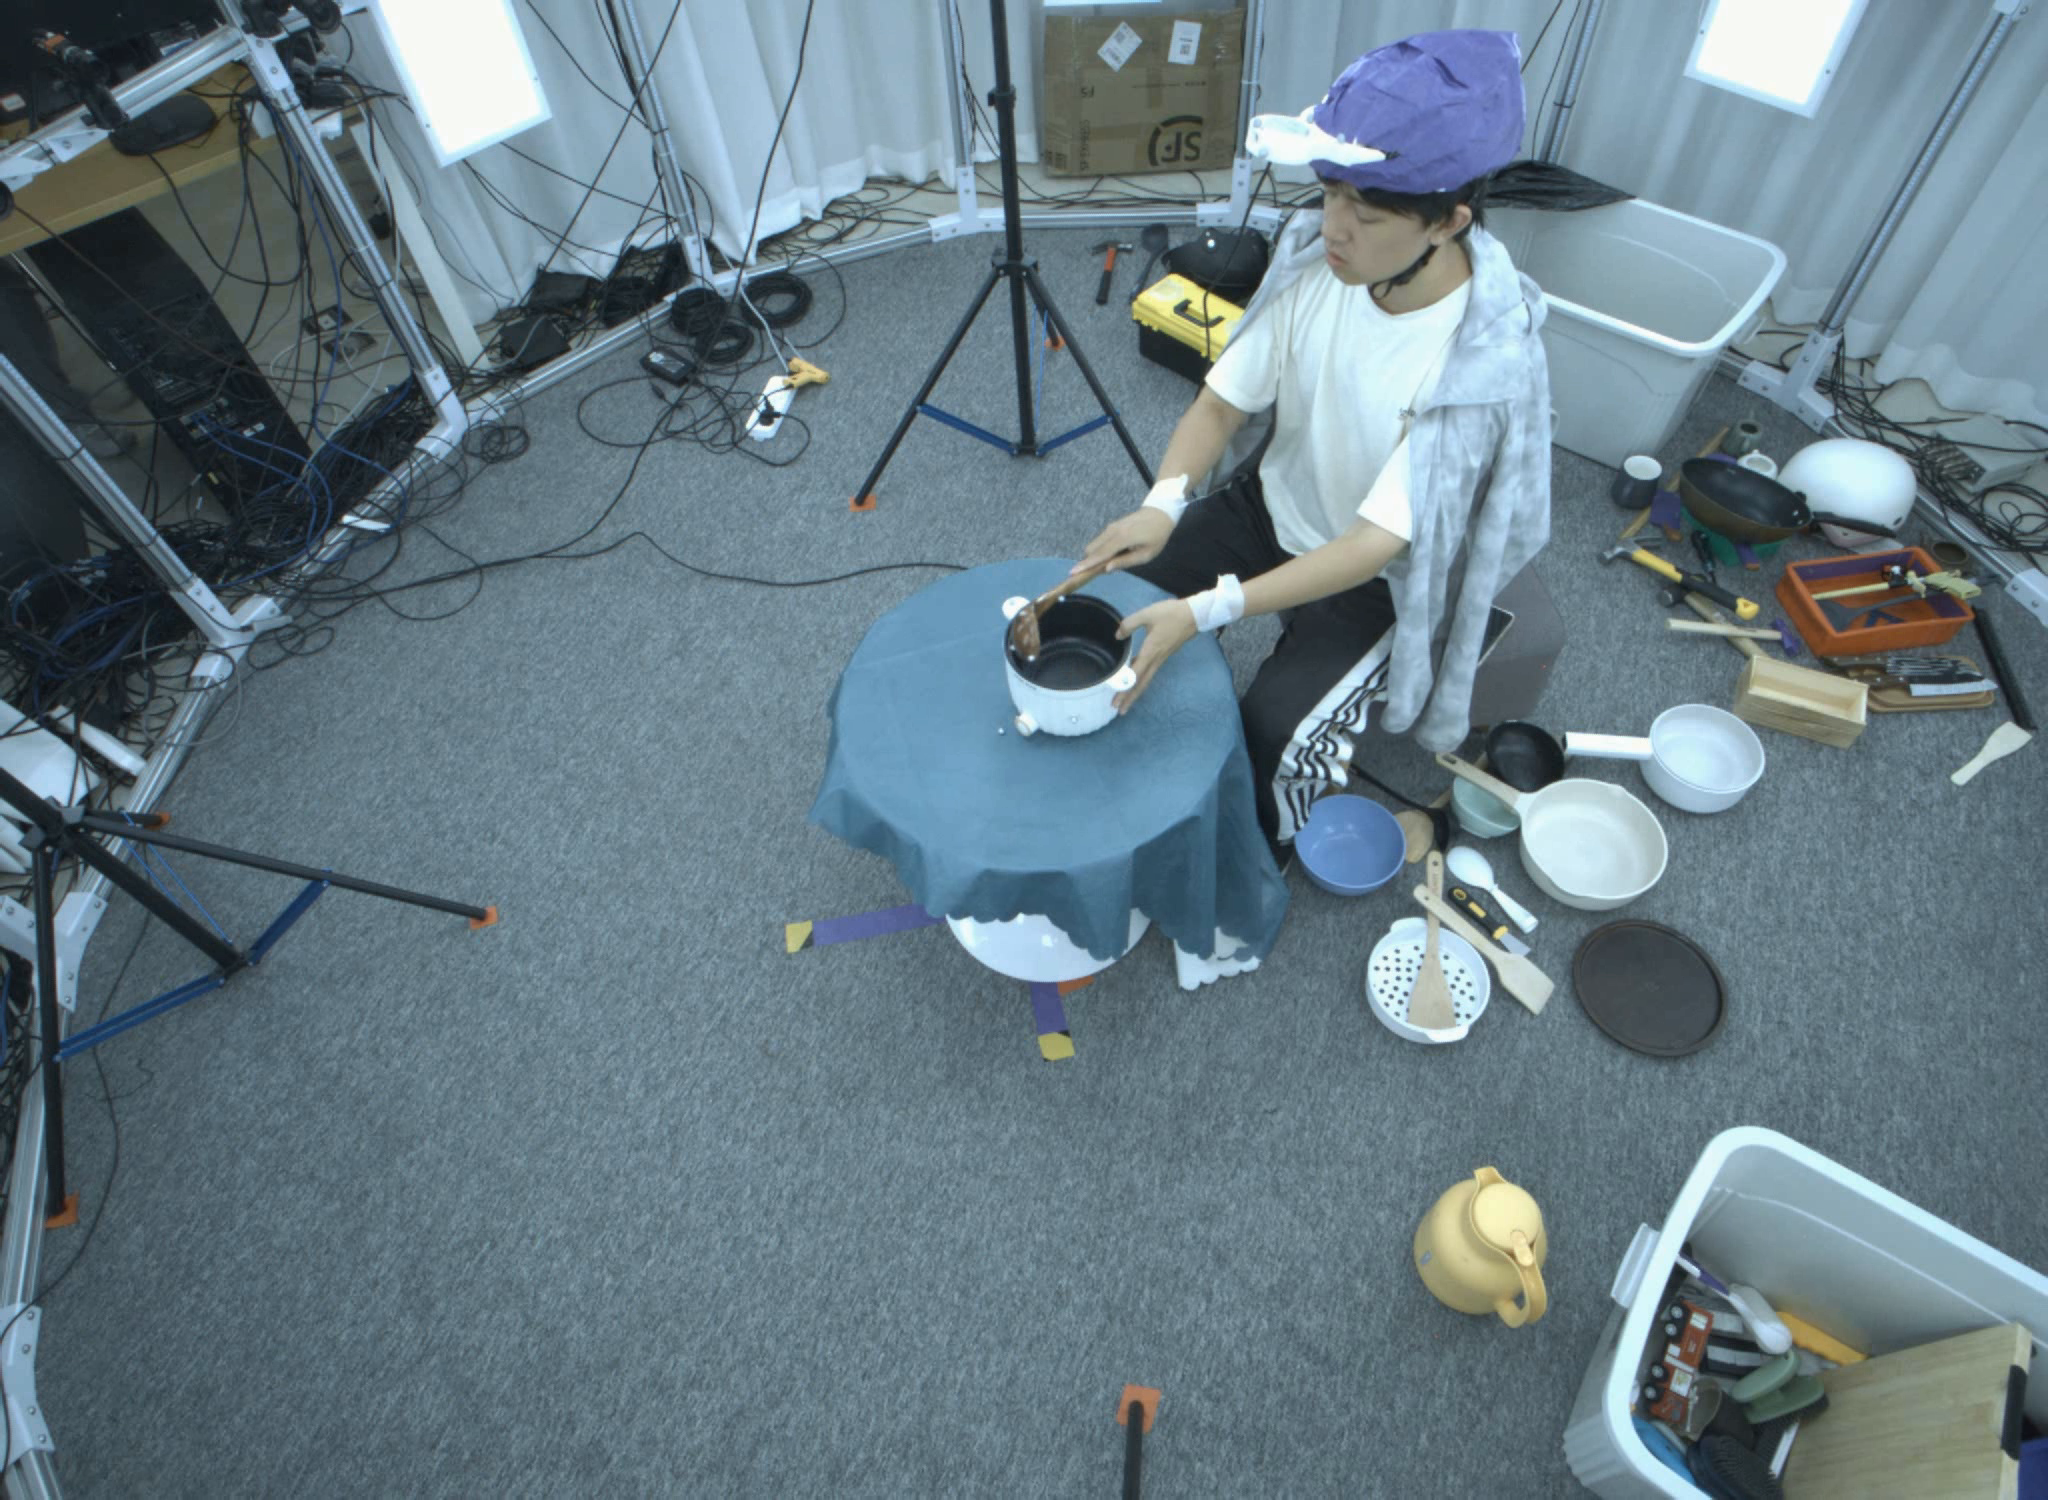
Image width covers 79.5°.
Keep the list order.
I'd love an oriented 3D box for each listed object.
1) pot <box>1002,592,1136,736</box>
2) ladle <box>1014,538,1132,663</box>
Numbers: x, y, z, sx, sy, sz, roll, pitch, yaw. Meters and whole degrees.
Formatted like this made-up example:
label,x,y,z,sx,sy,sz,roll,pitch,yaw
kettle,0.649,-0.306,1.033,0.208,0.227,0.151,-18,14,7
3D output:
label,x,y,z,sx,sy,sz,roll,pitch,yaw
pot,0.061,-0.113,1.782,0.236,0.144,0.192,36,60,25
ladle,0.084,-0.216,1.725,0.075,0.082,0.276,42,58,18
